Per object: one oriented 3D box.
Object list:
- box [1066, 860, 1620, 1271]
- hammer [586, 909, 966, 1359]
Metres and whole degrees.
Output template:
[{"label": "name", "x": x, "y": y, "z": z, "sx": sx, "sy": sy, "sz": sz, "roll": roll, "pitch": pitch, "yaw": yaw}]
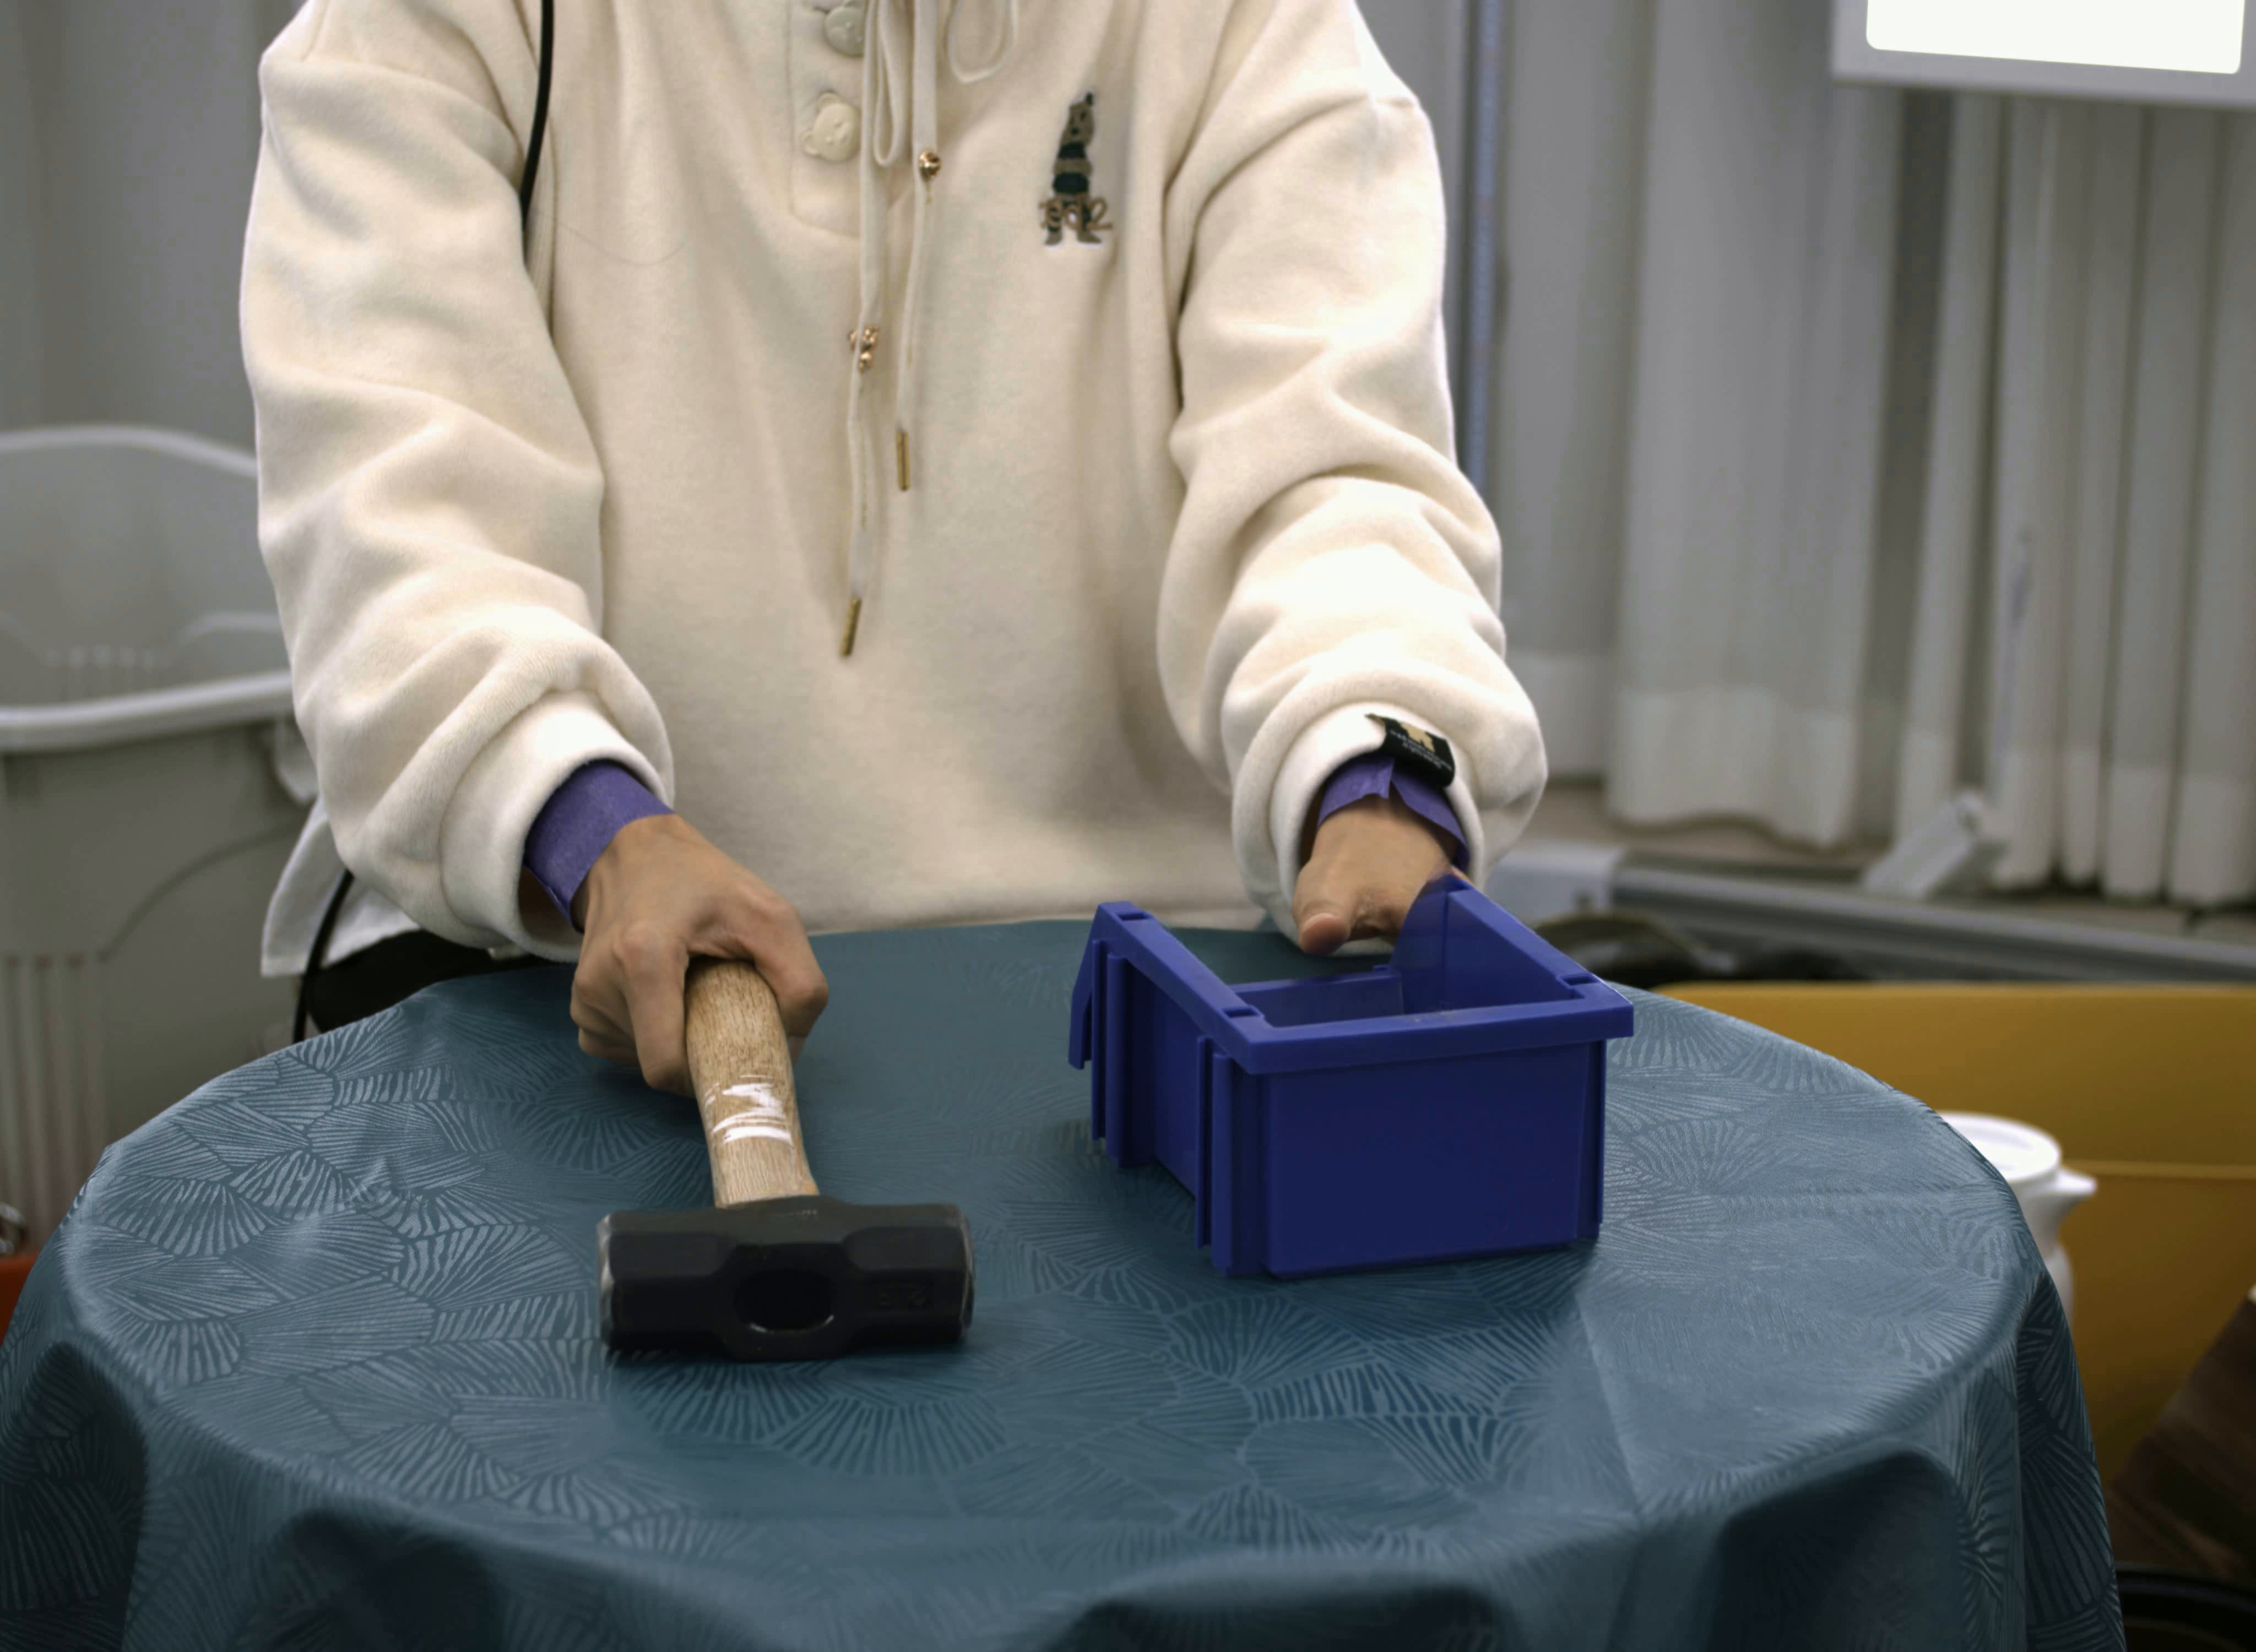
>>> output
[{"label": "box", "x": 0.060, "y": 0.070, "z": 1.625, "sx": 0.125, "sy": 0.082, "sz": 0.177, "roll": -5, "pitch": 19, "yaw": -16}, {"label": "hammer", "x": -0.112, "y": 0.086, "z": 1.614, "sx": 0.107, "sy": 0.038, "sz": 0.303, "roll": 0, "pitch": 18, "yaw": -6}]
